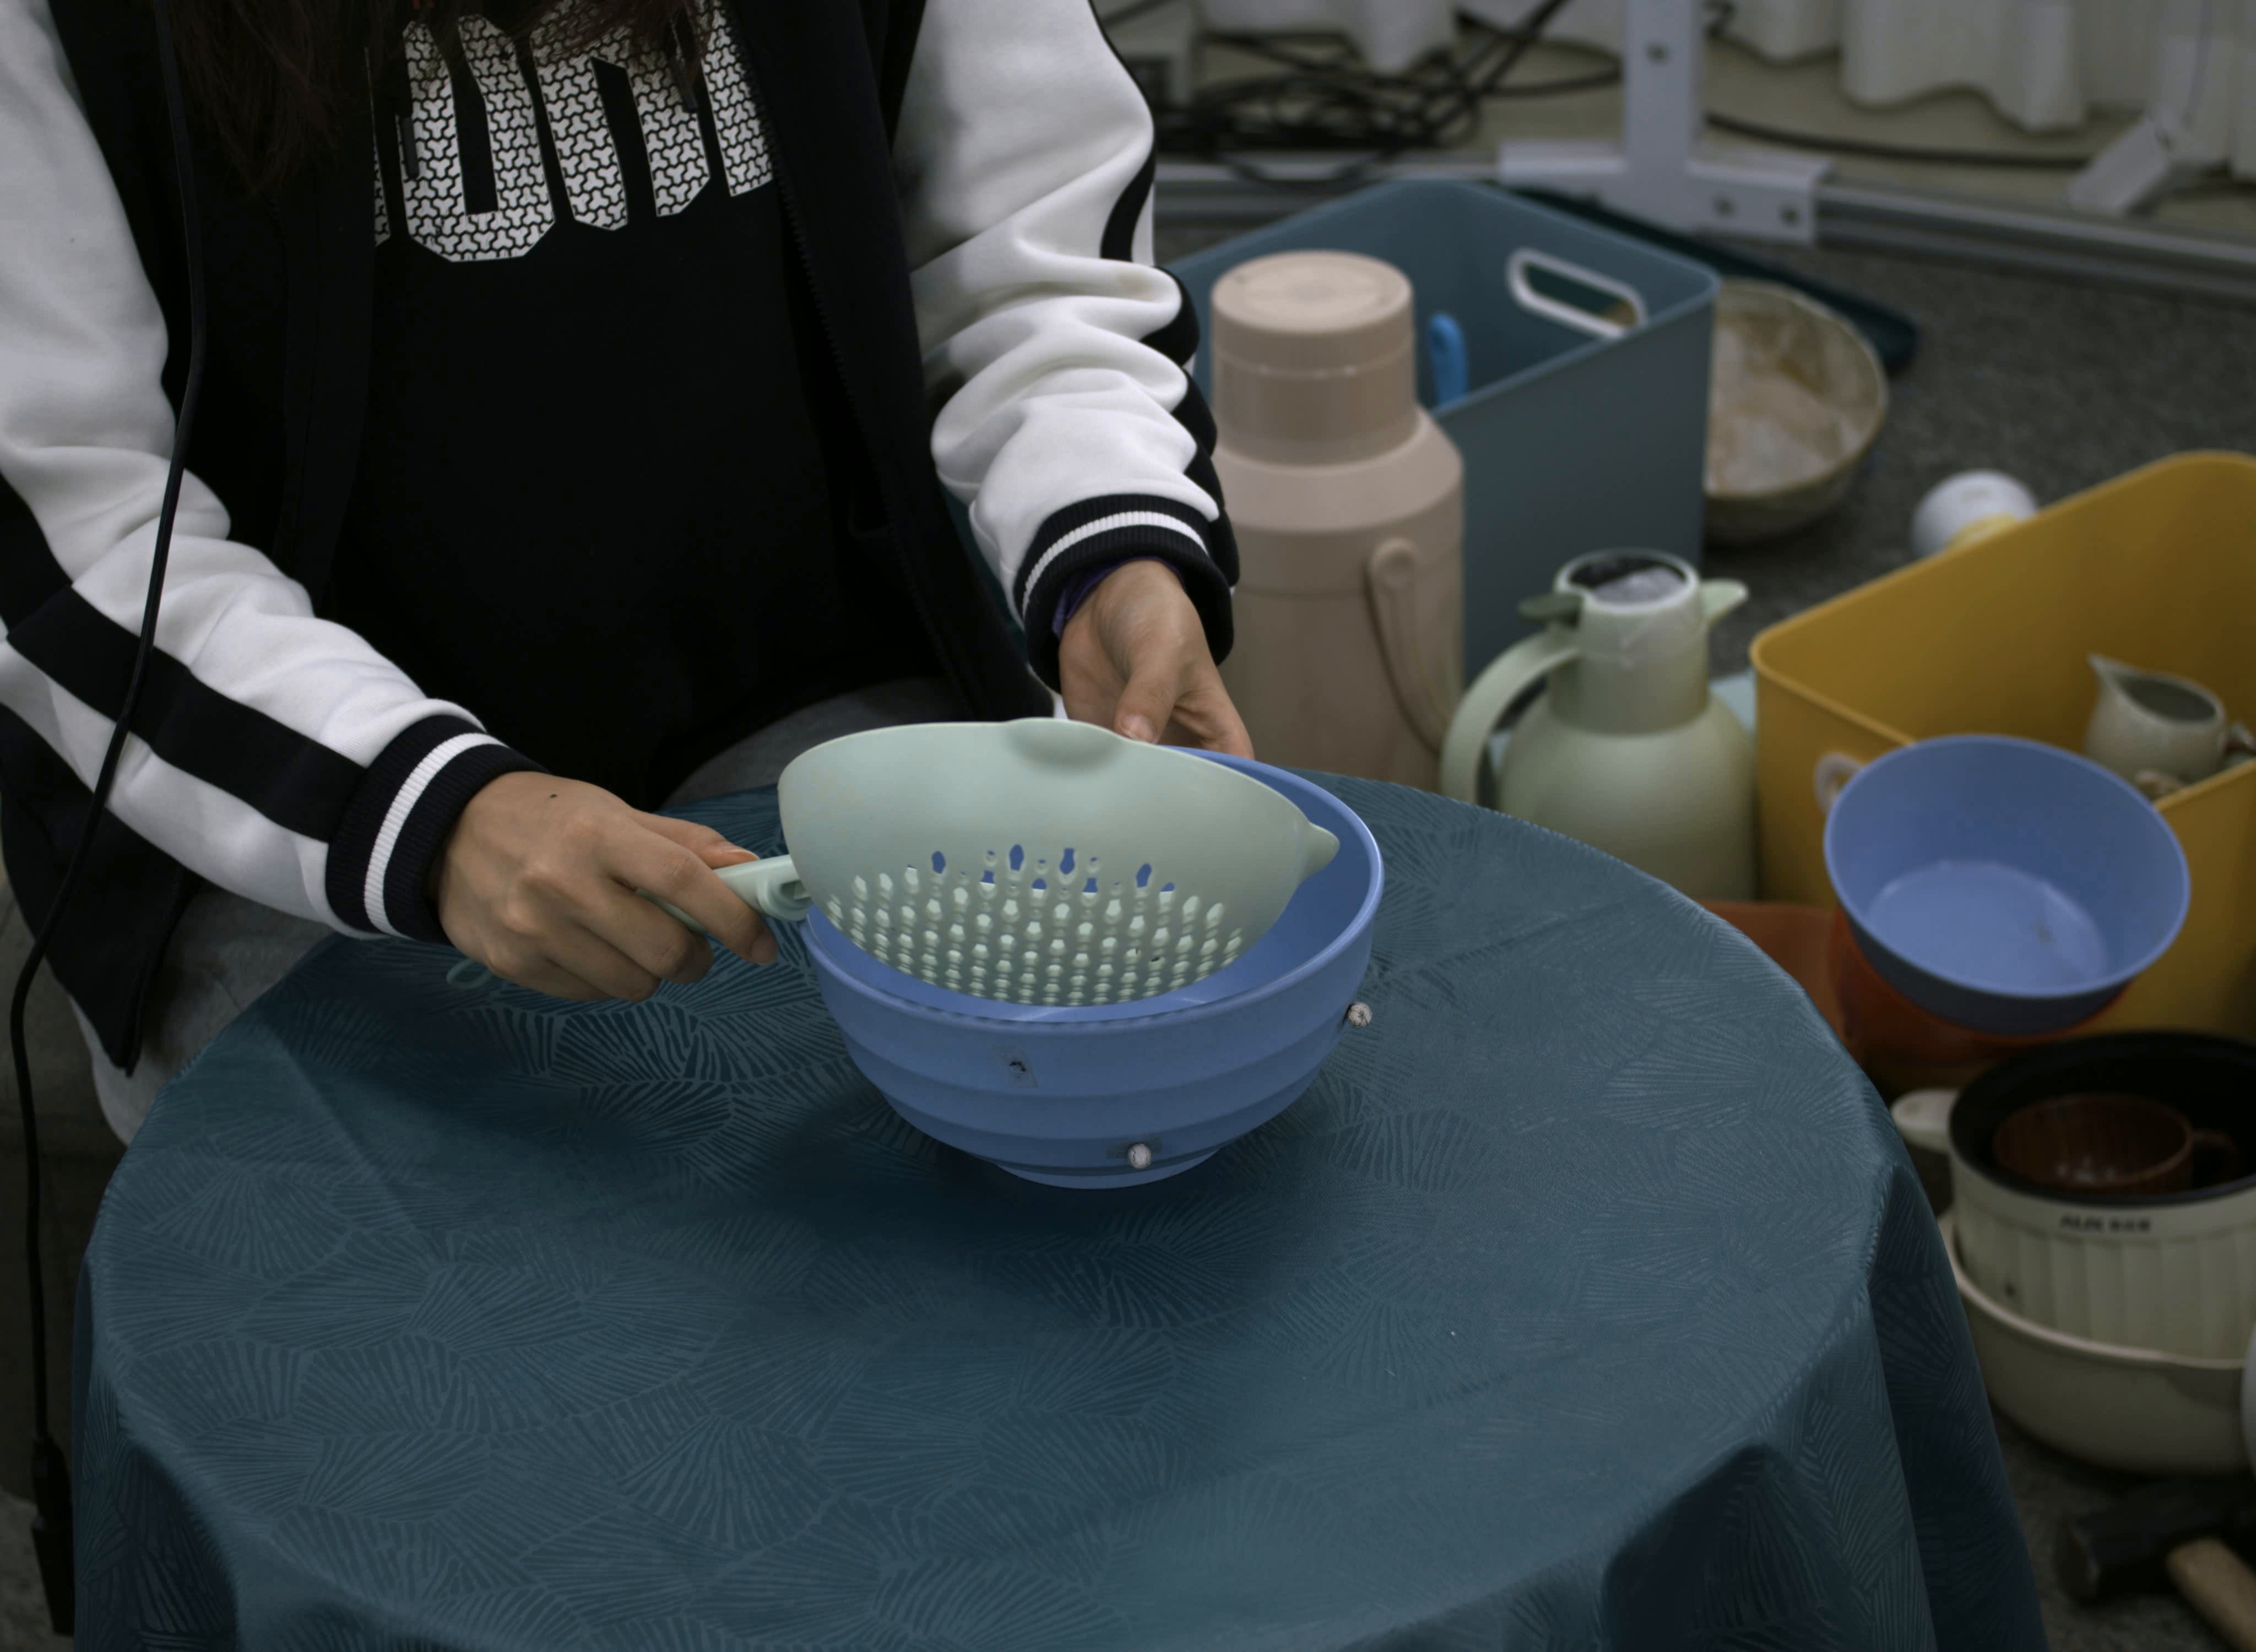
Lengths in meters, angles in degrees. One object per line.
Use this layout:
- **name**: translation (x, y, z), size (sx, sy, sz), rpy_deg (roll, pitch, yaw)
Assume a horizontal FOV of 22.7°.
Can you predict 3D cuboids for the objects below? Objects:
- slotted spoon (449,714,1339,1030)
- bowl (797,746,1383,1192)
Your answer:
- **slotted spoon**: translation (-0.099, 0.026, 1.830), size (0.355, 0.076, 0.169), rpy_deg (-4, -20, 44)
- **bowl**: translation (-0.011, 0.059, 1.883), size (0.195, 0.094, 0.199), rpy_deg (-3, 27, 2)
